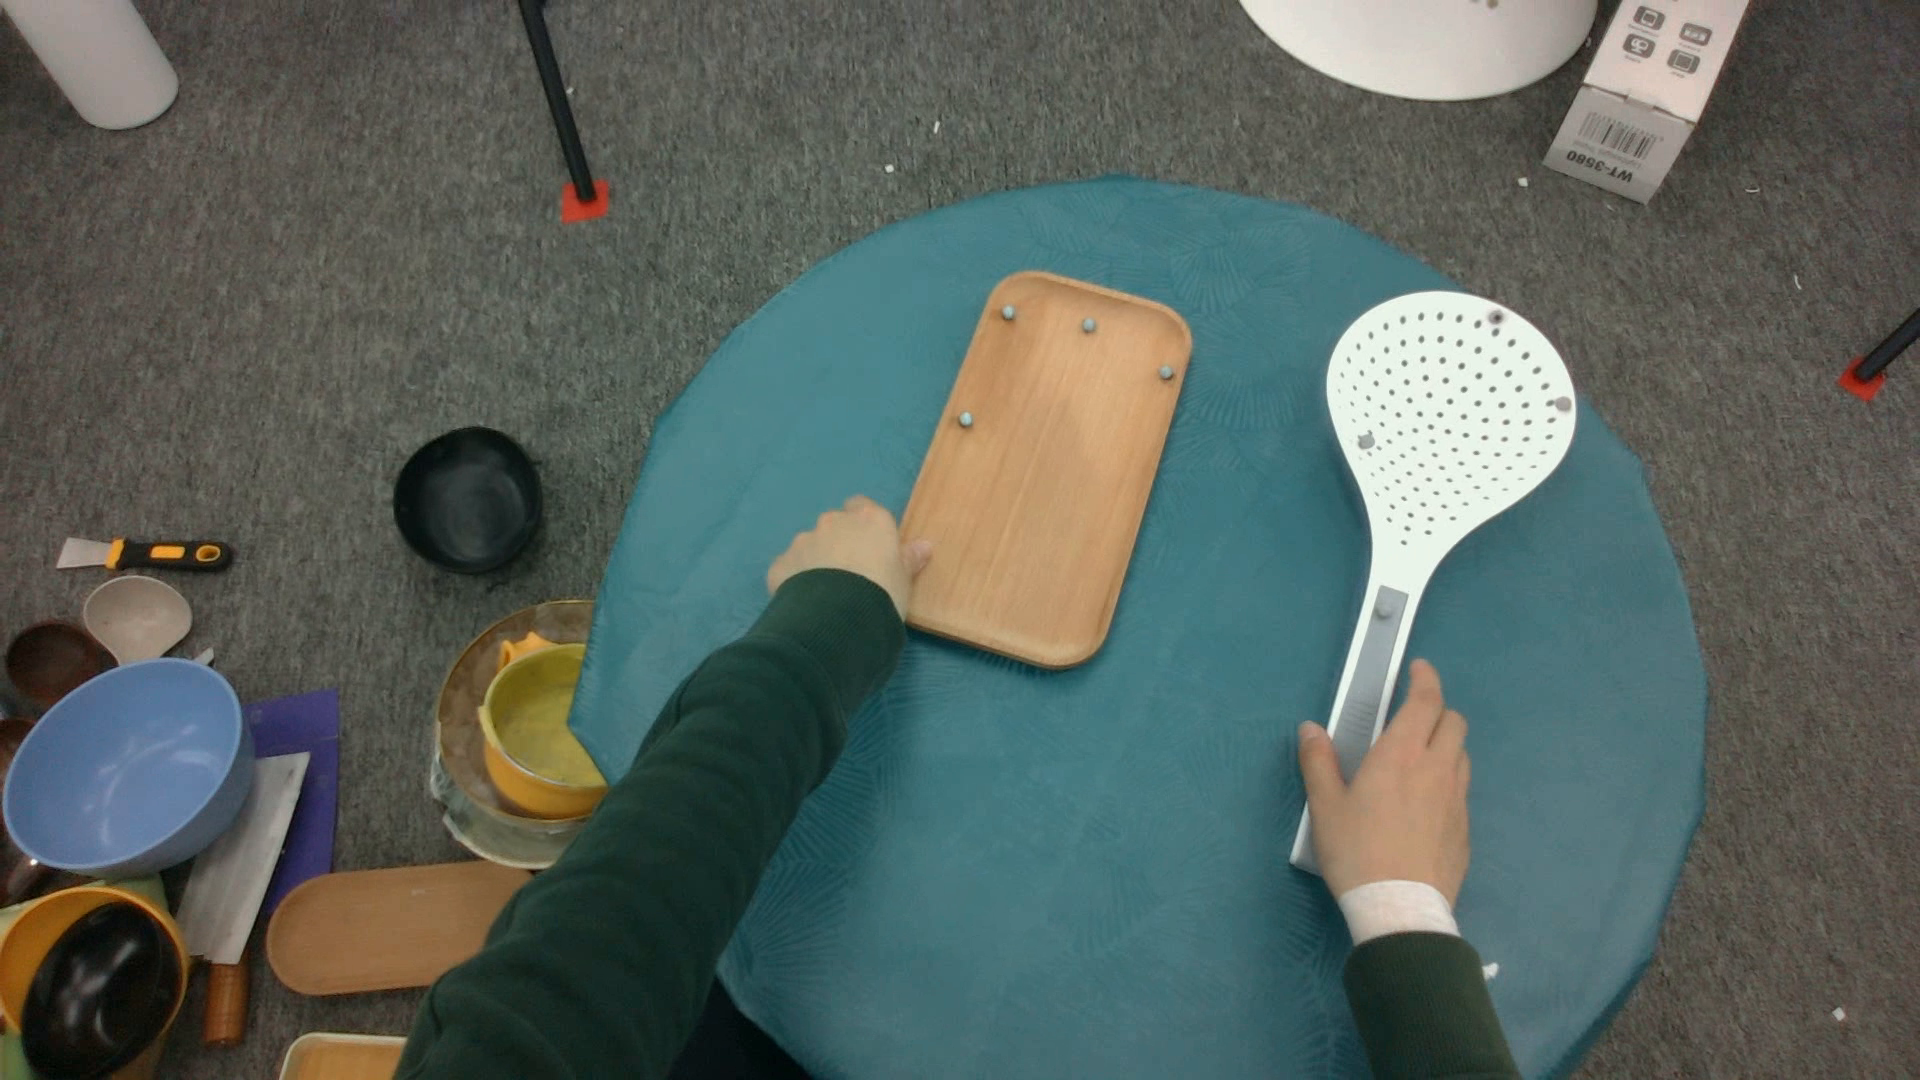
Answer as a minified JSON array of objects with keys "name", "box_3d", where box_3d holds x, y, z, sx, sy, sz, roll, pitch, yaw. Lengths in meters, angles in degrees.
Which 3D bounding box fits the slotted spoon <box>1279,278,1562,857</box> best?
[{"name":"slotted spoon","box_3d":[0.234,0.004,0.748,0.136,0.045,0.351,18,64,10]}]

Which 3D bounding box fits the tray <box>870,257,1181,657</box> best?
[{"name":"tray","box_3d":[0.042,-0.054,0.787,0.130,0.023,0.252,16,63,8]}]
